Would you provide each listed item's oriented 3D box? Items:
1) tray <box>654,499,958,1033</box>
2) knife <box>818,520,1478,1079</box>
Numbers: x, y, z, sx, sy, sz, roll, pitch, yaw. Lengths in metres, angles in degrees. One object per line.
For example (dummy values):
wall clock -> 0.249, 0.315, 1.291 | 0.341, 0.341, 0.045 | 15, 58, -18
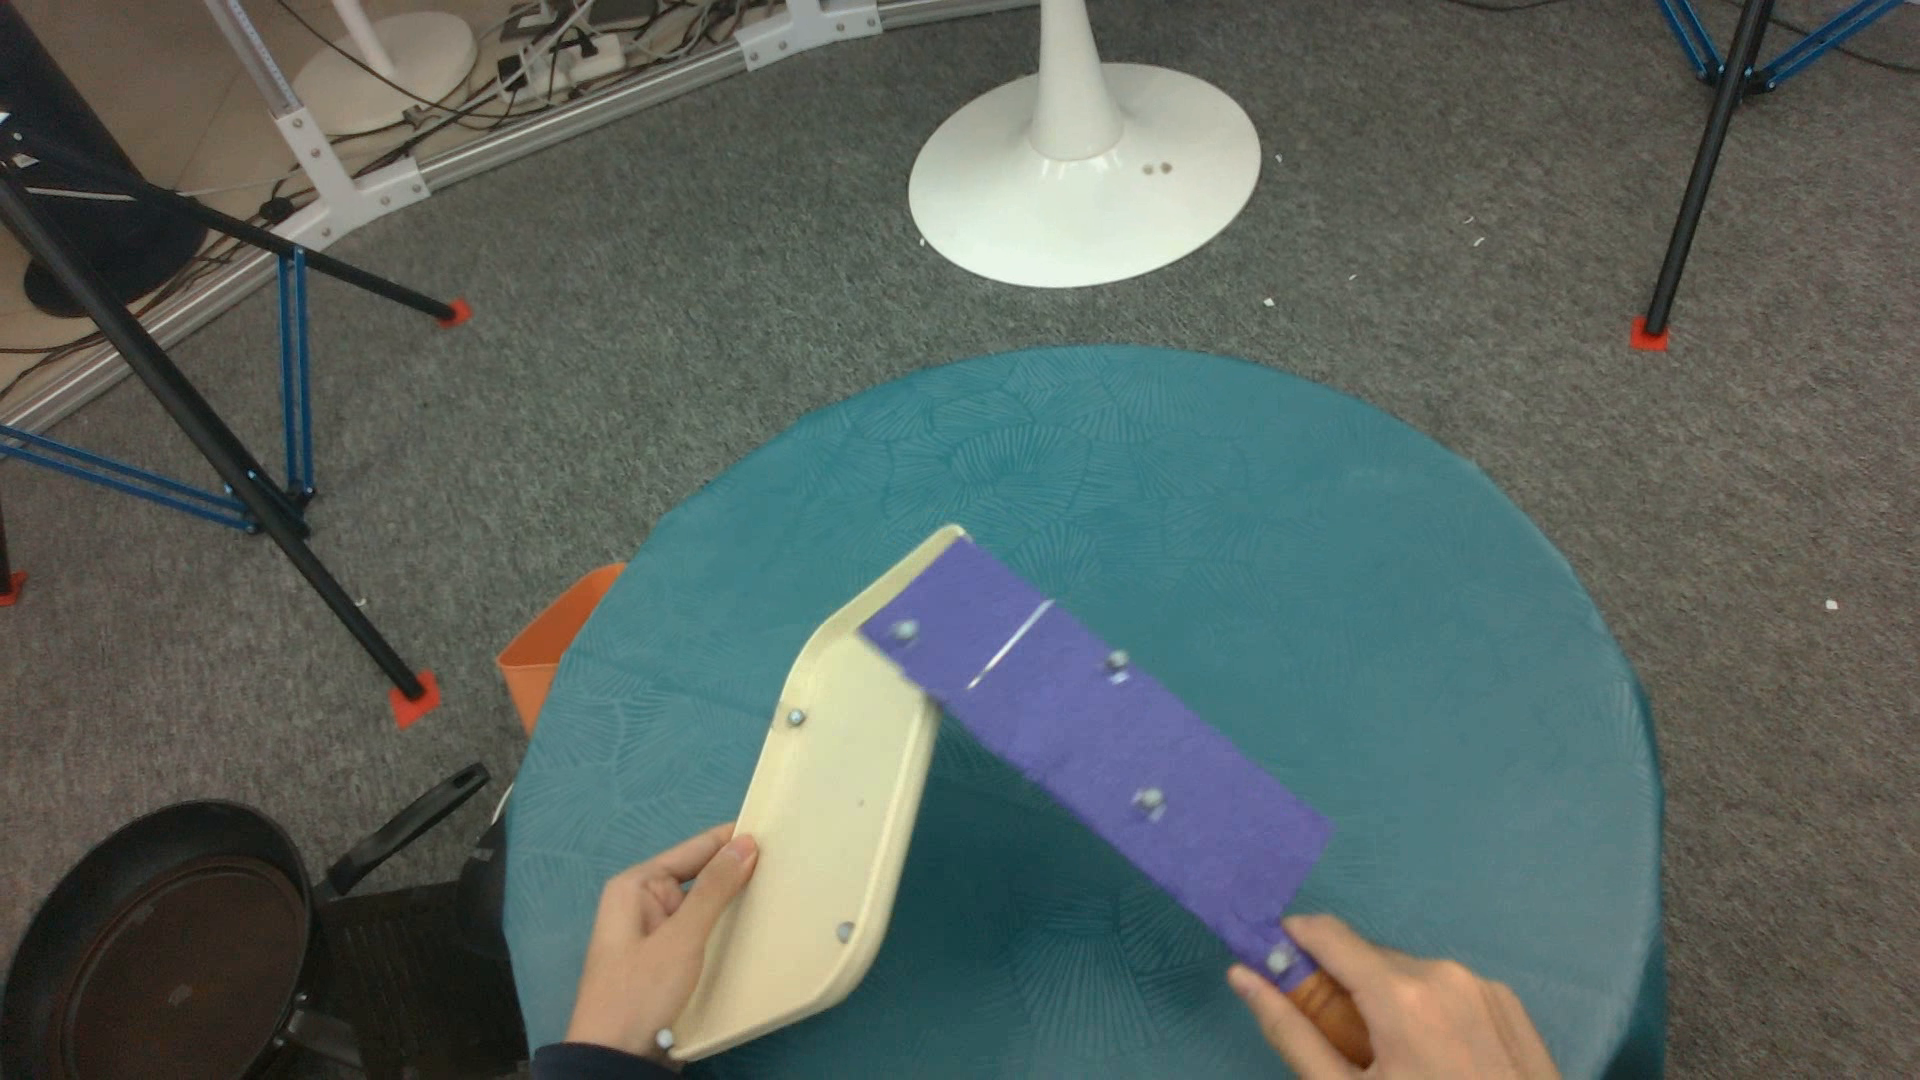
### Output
tray -> -0.067, 0.100, 0.633 | 0.017, 0.170, 0.241 | 32, 48, -20
knife -> 0.088, 0.102, 0.573 | 0.315, 0.032, 0.104 | 40, 46, 7
